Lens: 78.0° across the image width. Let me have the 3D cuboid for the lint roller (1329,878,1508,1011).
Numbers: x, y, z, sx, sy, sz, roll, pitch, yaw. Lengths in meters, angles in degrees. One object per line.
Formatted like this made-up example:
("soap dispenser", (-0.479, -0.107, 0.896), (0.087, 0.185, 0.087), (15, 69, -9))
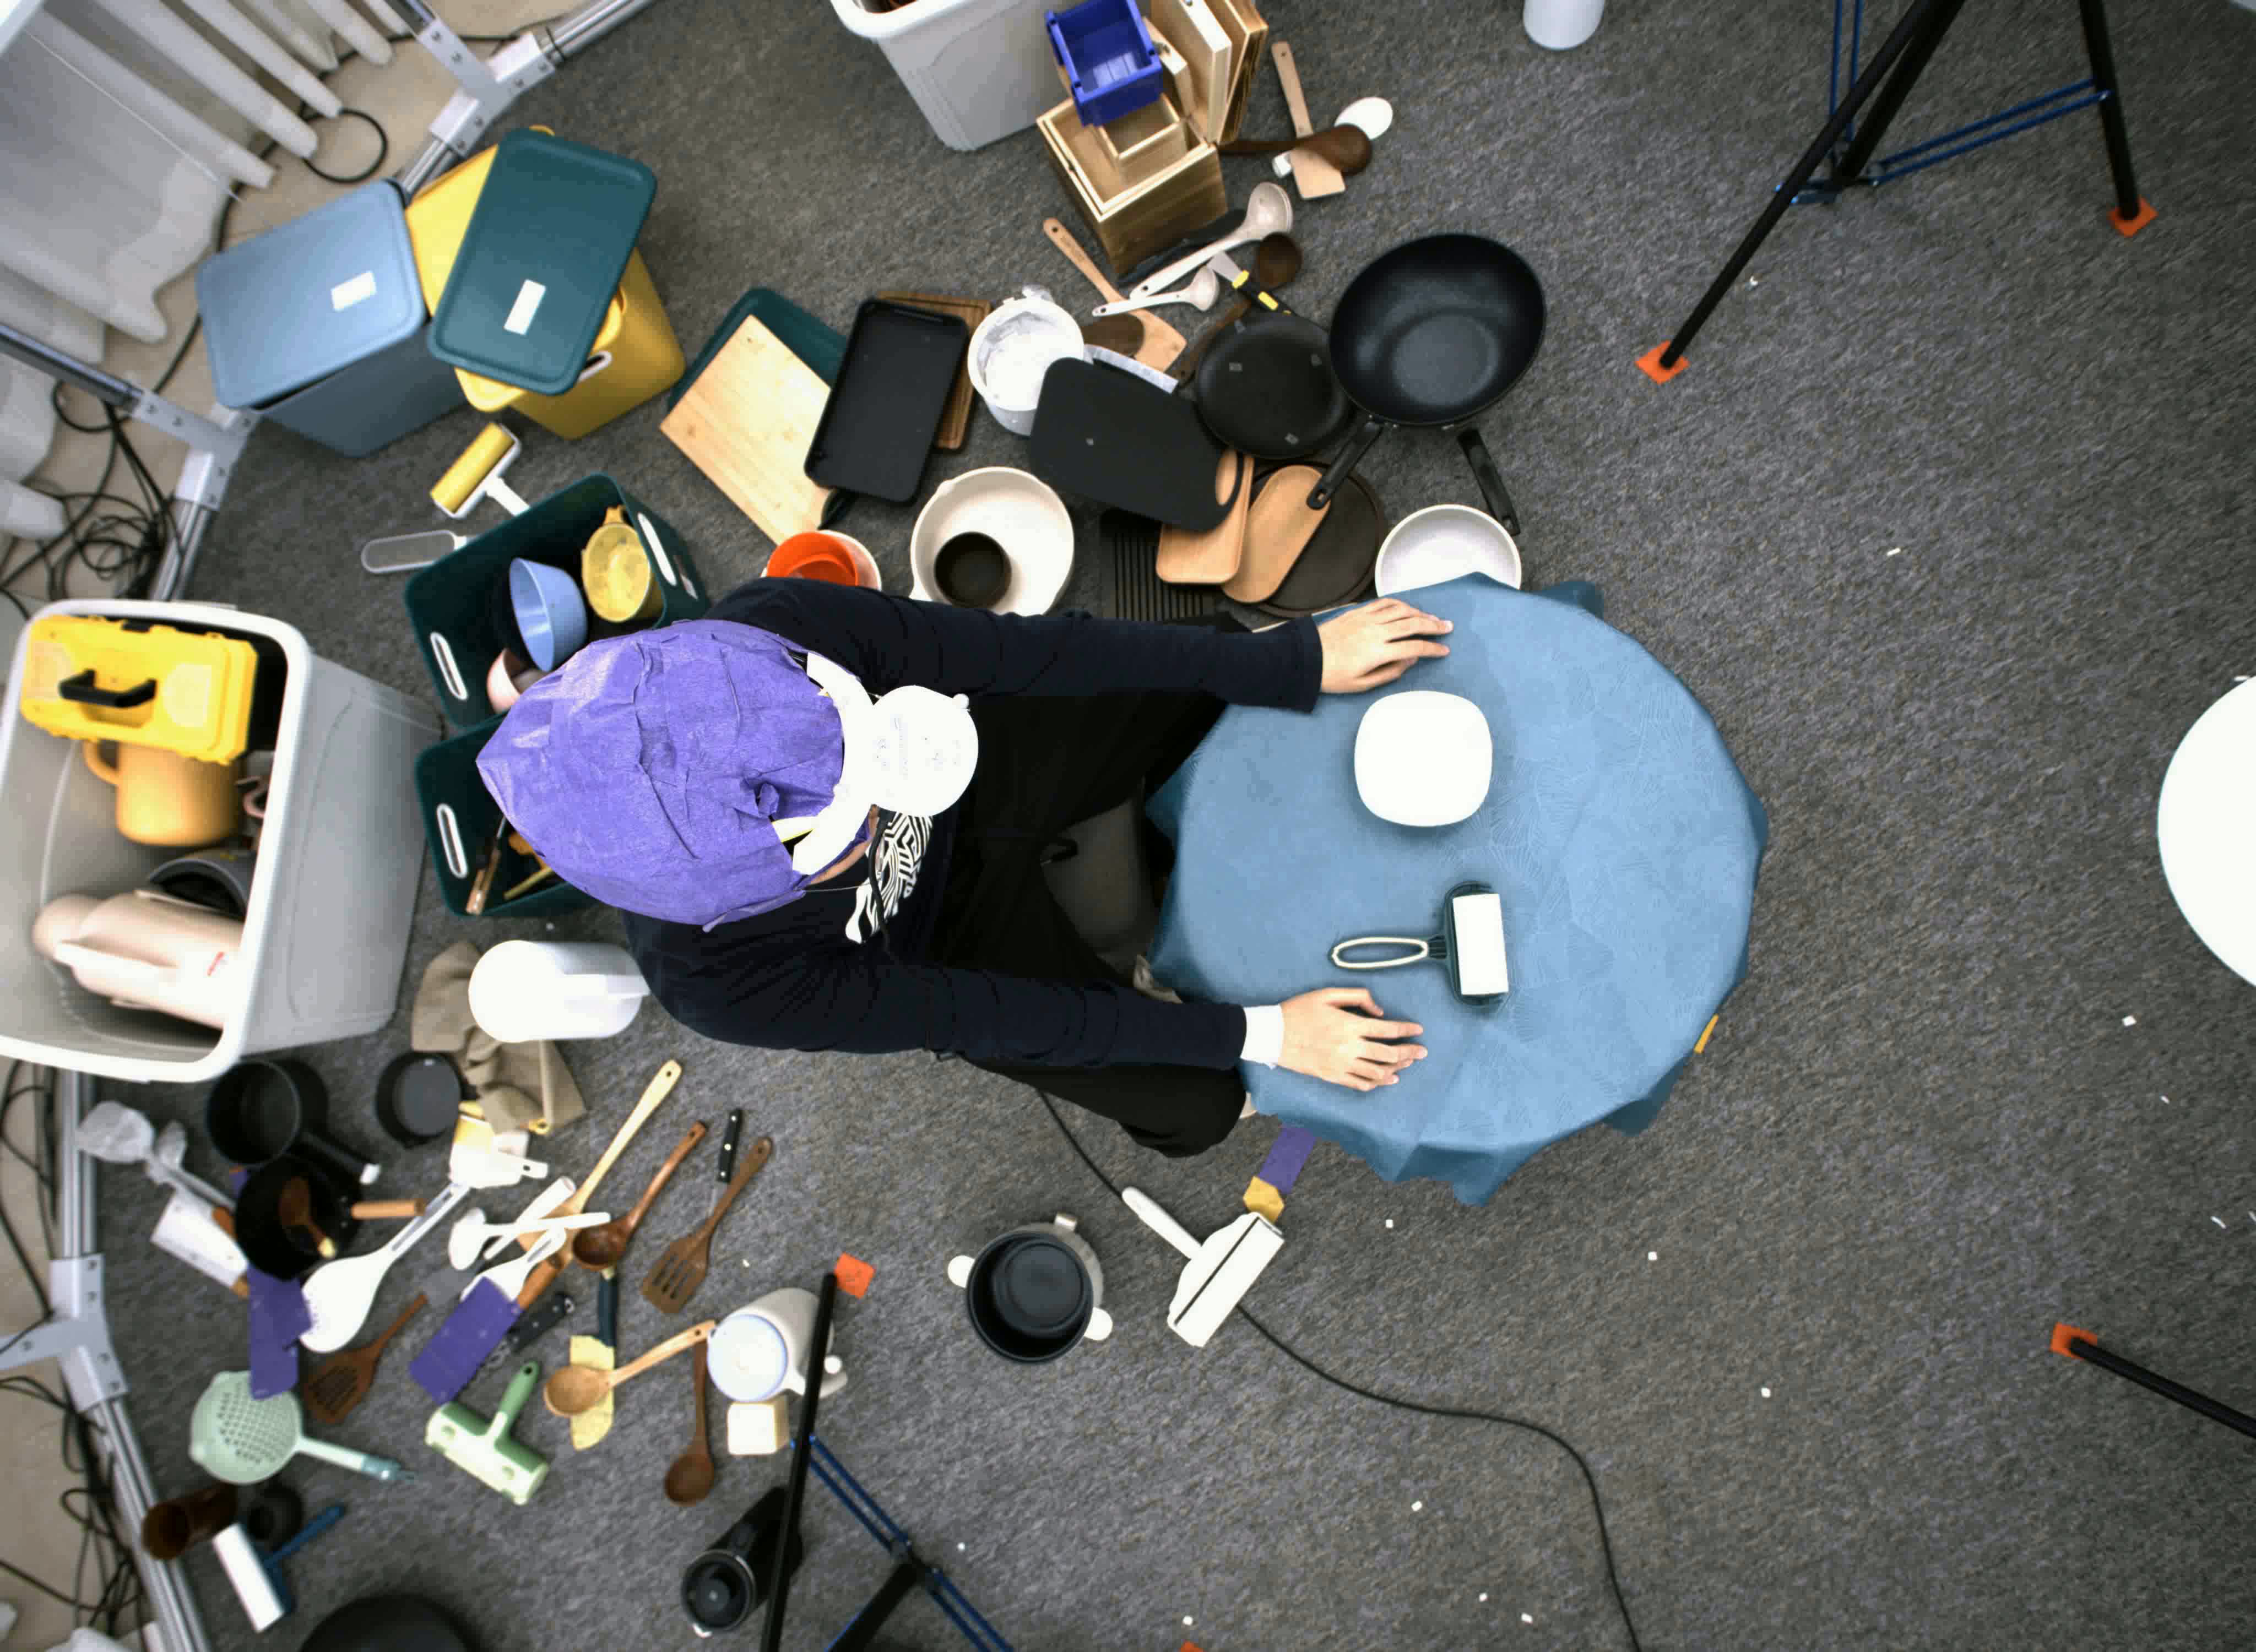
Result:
("lint roller", (0.297, 0.127, 1.432), (0.181, 0.048, 0.133), (-6, 85, 13))

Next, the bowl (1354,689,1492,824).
("bowl", (0.305, -0.071, 1.432), (0.152, 0.058, 0.151), (-1, 88, 8))
